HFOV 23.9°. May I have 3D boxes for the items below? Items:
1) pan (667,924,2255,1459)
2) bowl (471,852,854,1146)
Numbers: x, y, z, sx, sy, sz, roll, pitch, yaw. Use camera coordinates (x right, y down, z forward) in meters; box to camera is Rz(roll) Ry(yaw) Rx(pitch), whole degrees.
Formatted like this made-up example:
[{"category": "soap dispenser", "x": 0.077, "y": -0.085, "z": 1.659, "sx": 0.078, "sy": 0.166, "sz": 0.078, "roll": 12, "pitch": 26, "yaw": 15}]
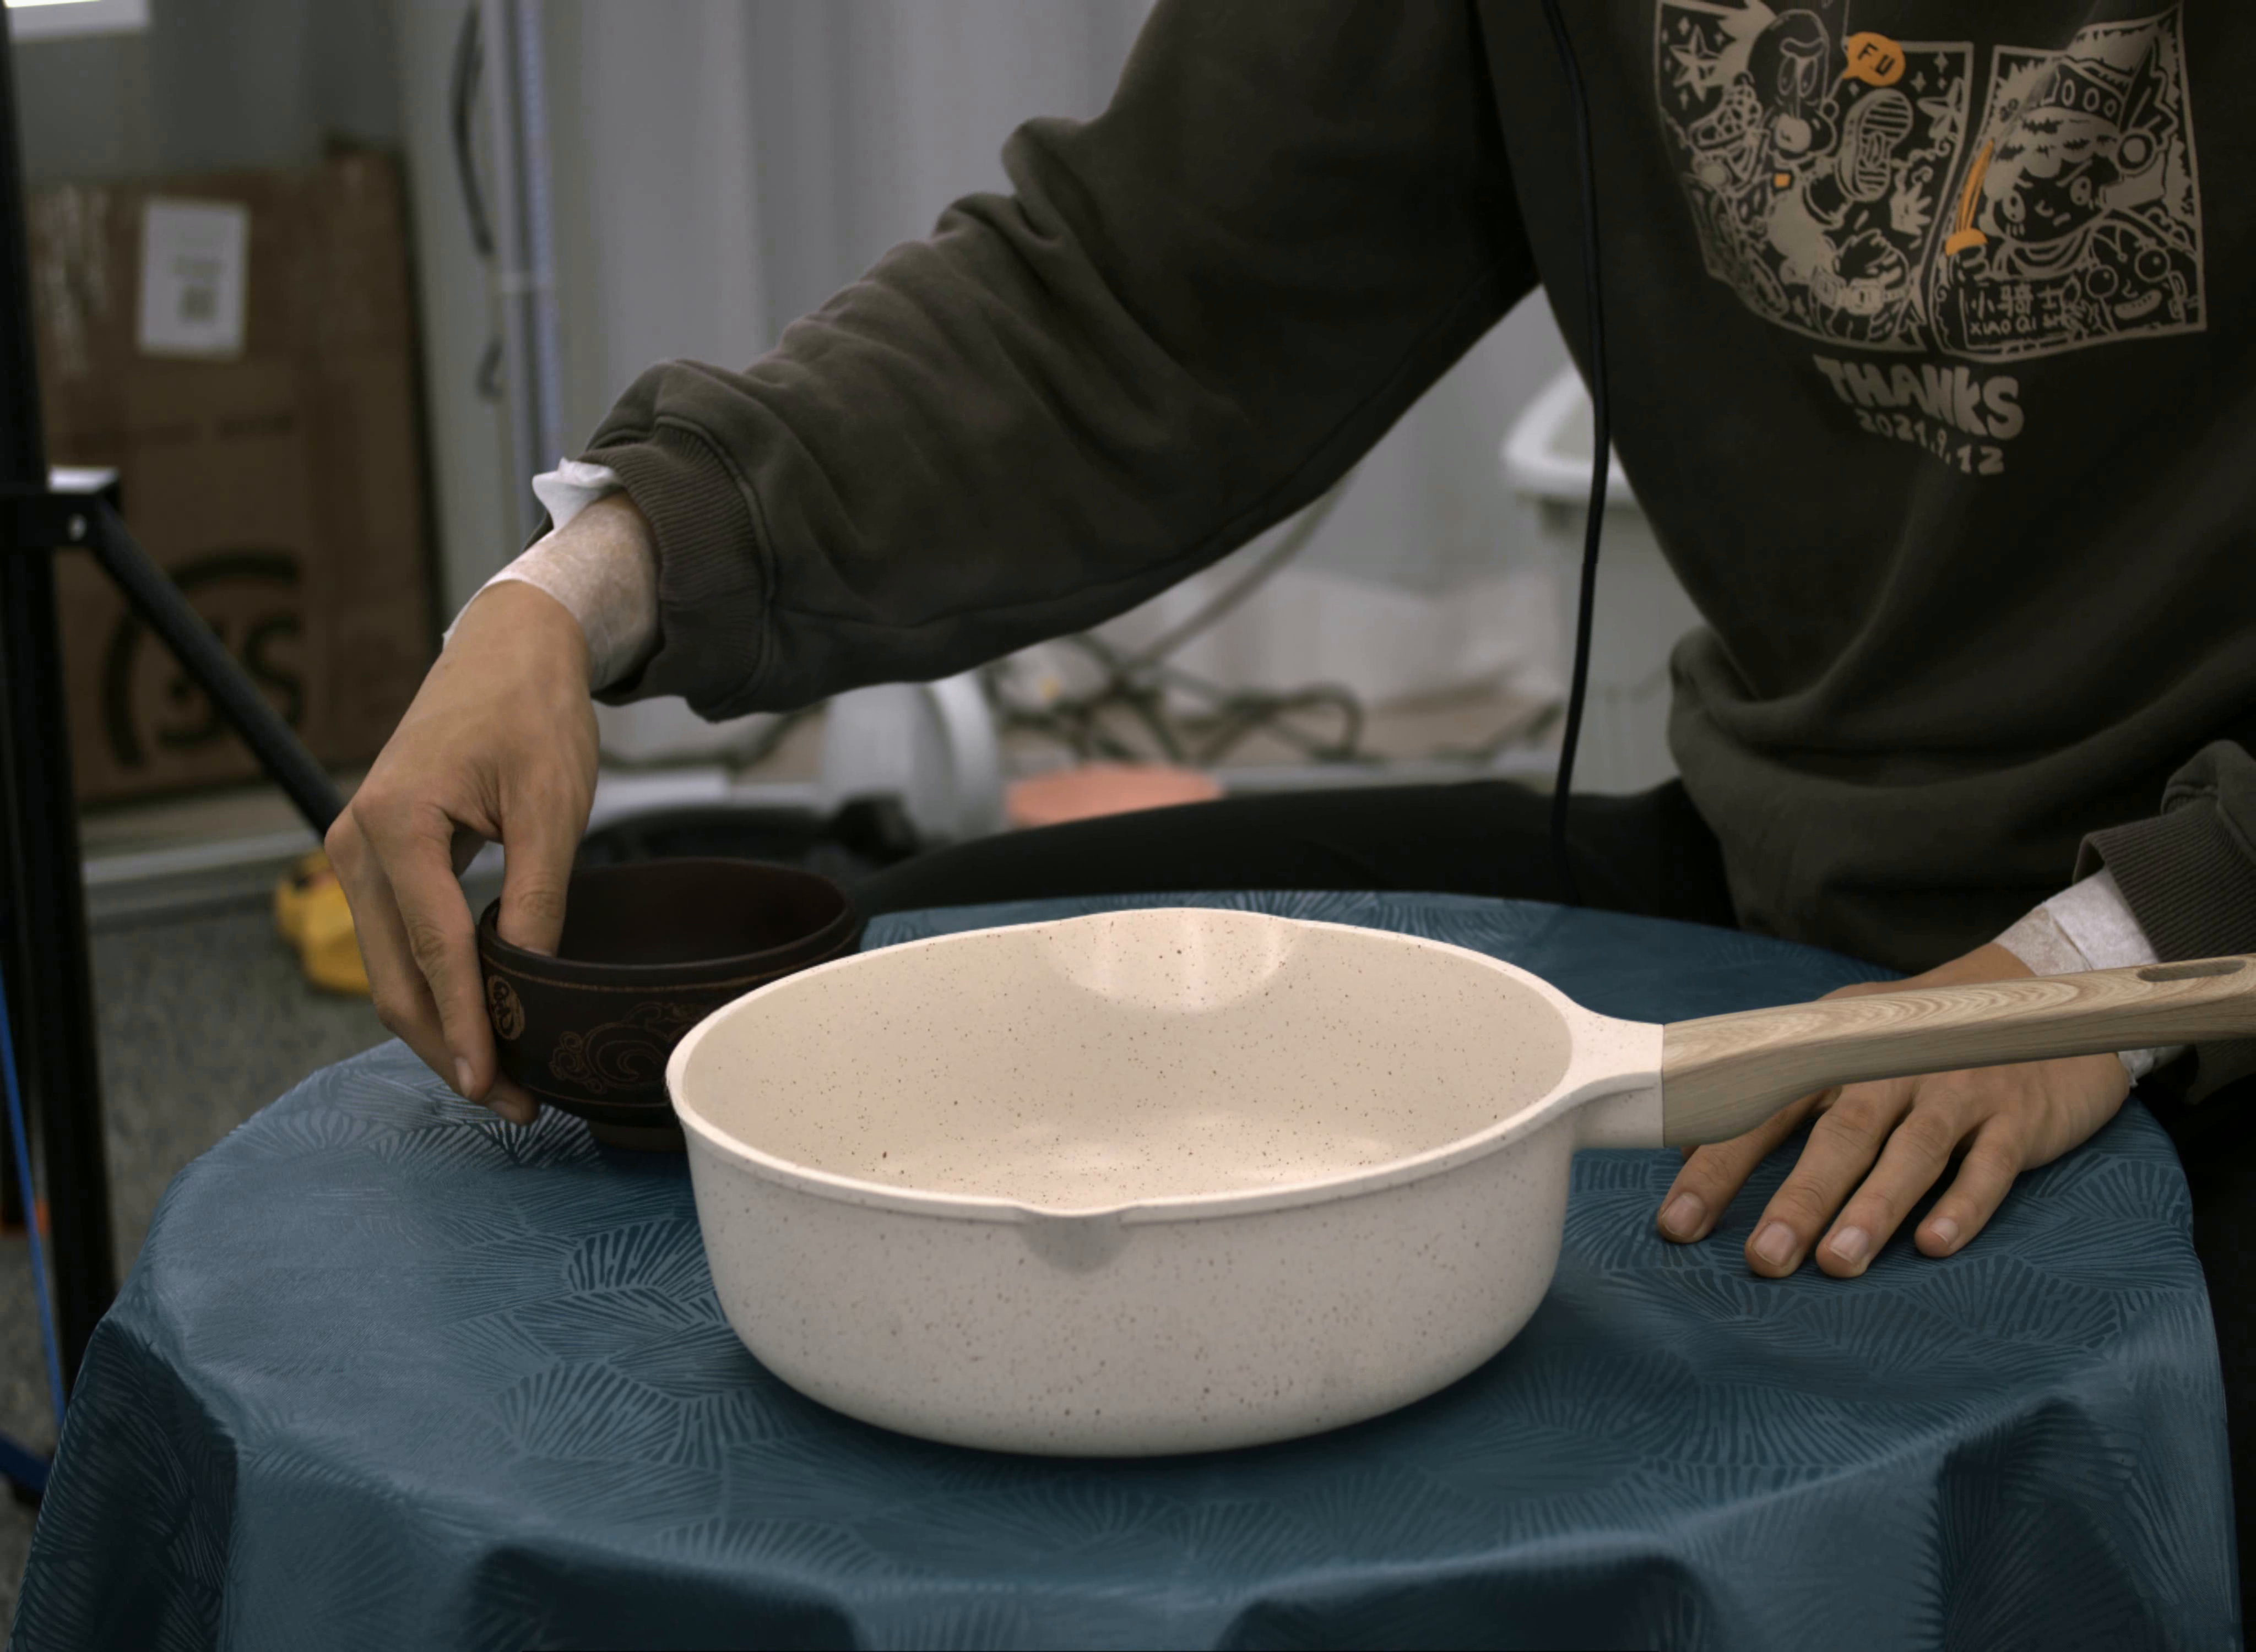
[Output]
[{"category": "pan", "x": 0.093, "y": 0.092, "z": 1.423, "sx": 0.435, "sy": 0.102, "sz": 0.263, "roll": 0, "pitch": 14, "yaw": 8}, {"category": "bowl", "x": -0.141, "y": 0.057, "z": 1.636, "sx": 0.117, "sy": 0.070, "sz": 0.118, "roll": -4, "pitch": 15, "yaw": 0}]
